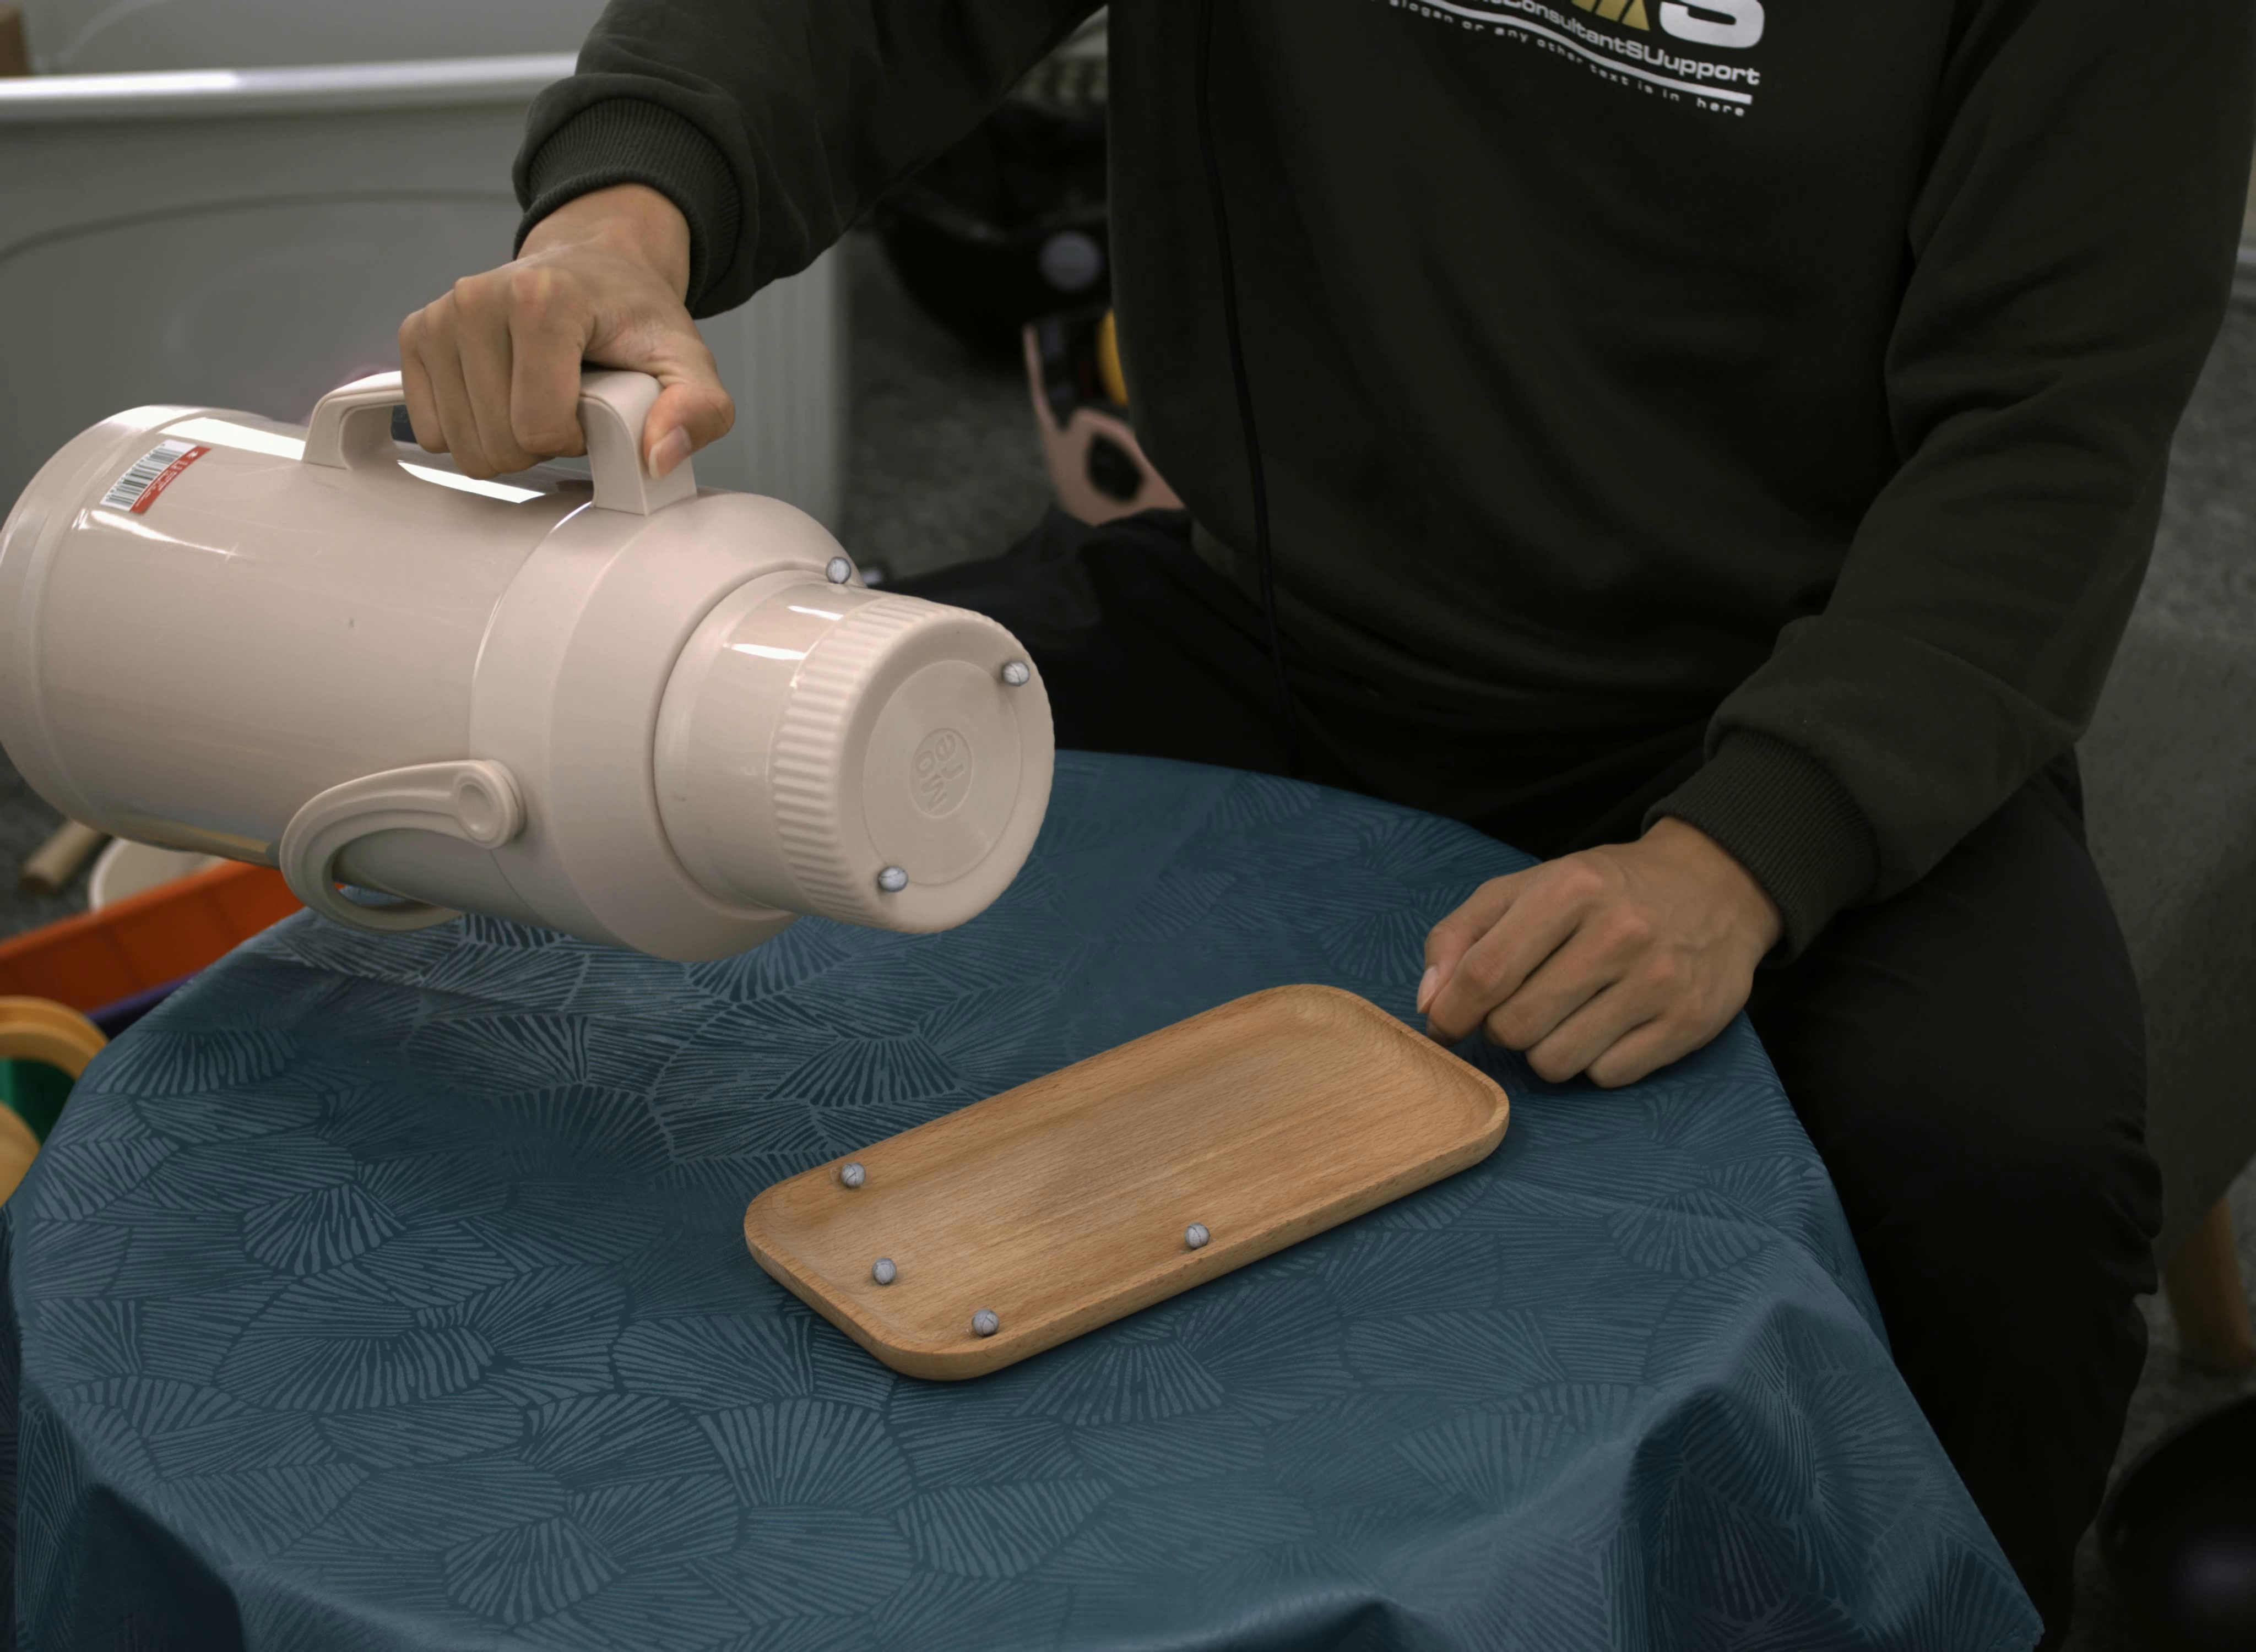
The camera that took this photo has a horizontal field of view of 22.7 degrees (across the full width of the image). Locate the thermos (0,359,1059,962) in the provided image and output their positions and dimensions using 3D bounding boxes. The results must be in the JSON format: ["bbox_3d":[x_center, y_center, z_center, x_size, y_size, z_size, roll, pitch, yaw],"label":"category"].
[{"bbox_3d":[-0.204,-0.059,1.903,0.404,0.205,0.177,11,27,42],"label":"thermos"}]

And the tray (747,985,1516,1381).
[{"bbox_3d":[0.002,0.116,1.858,0.253,0.022,0.131,-19,34,-30],"label":"tray"}]
